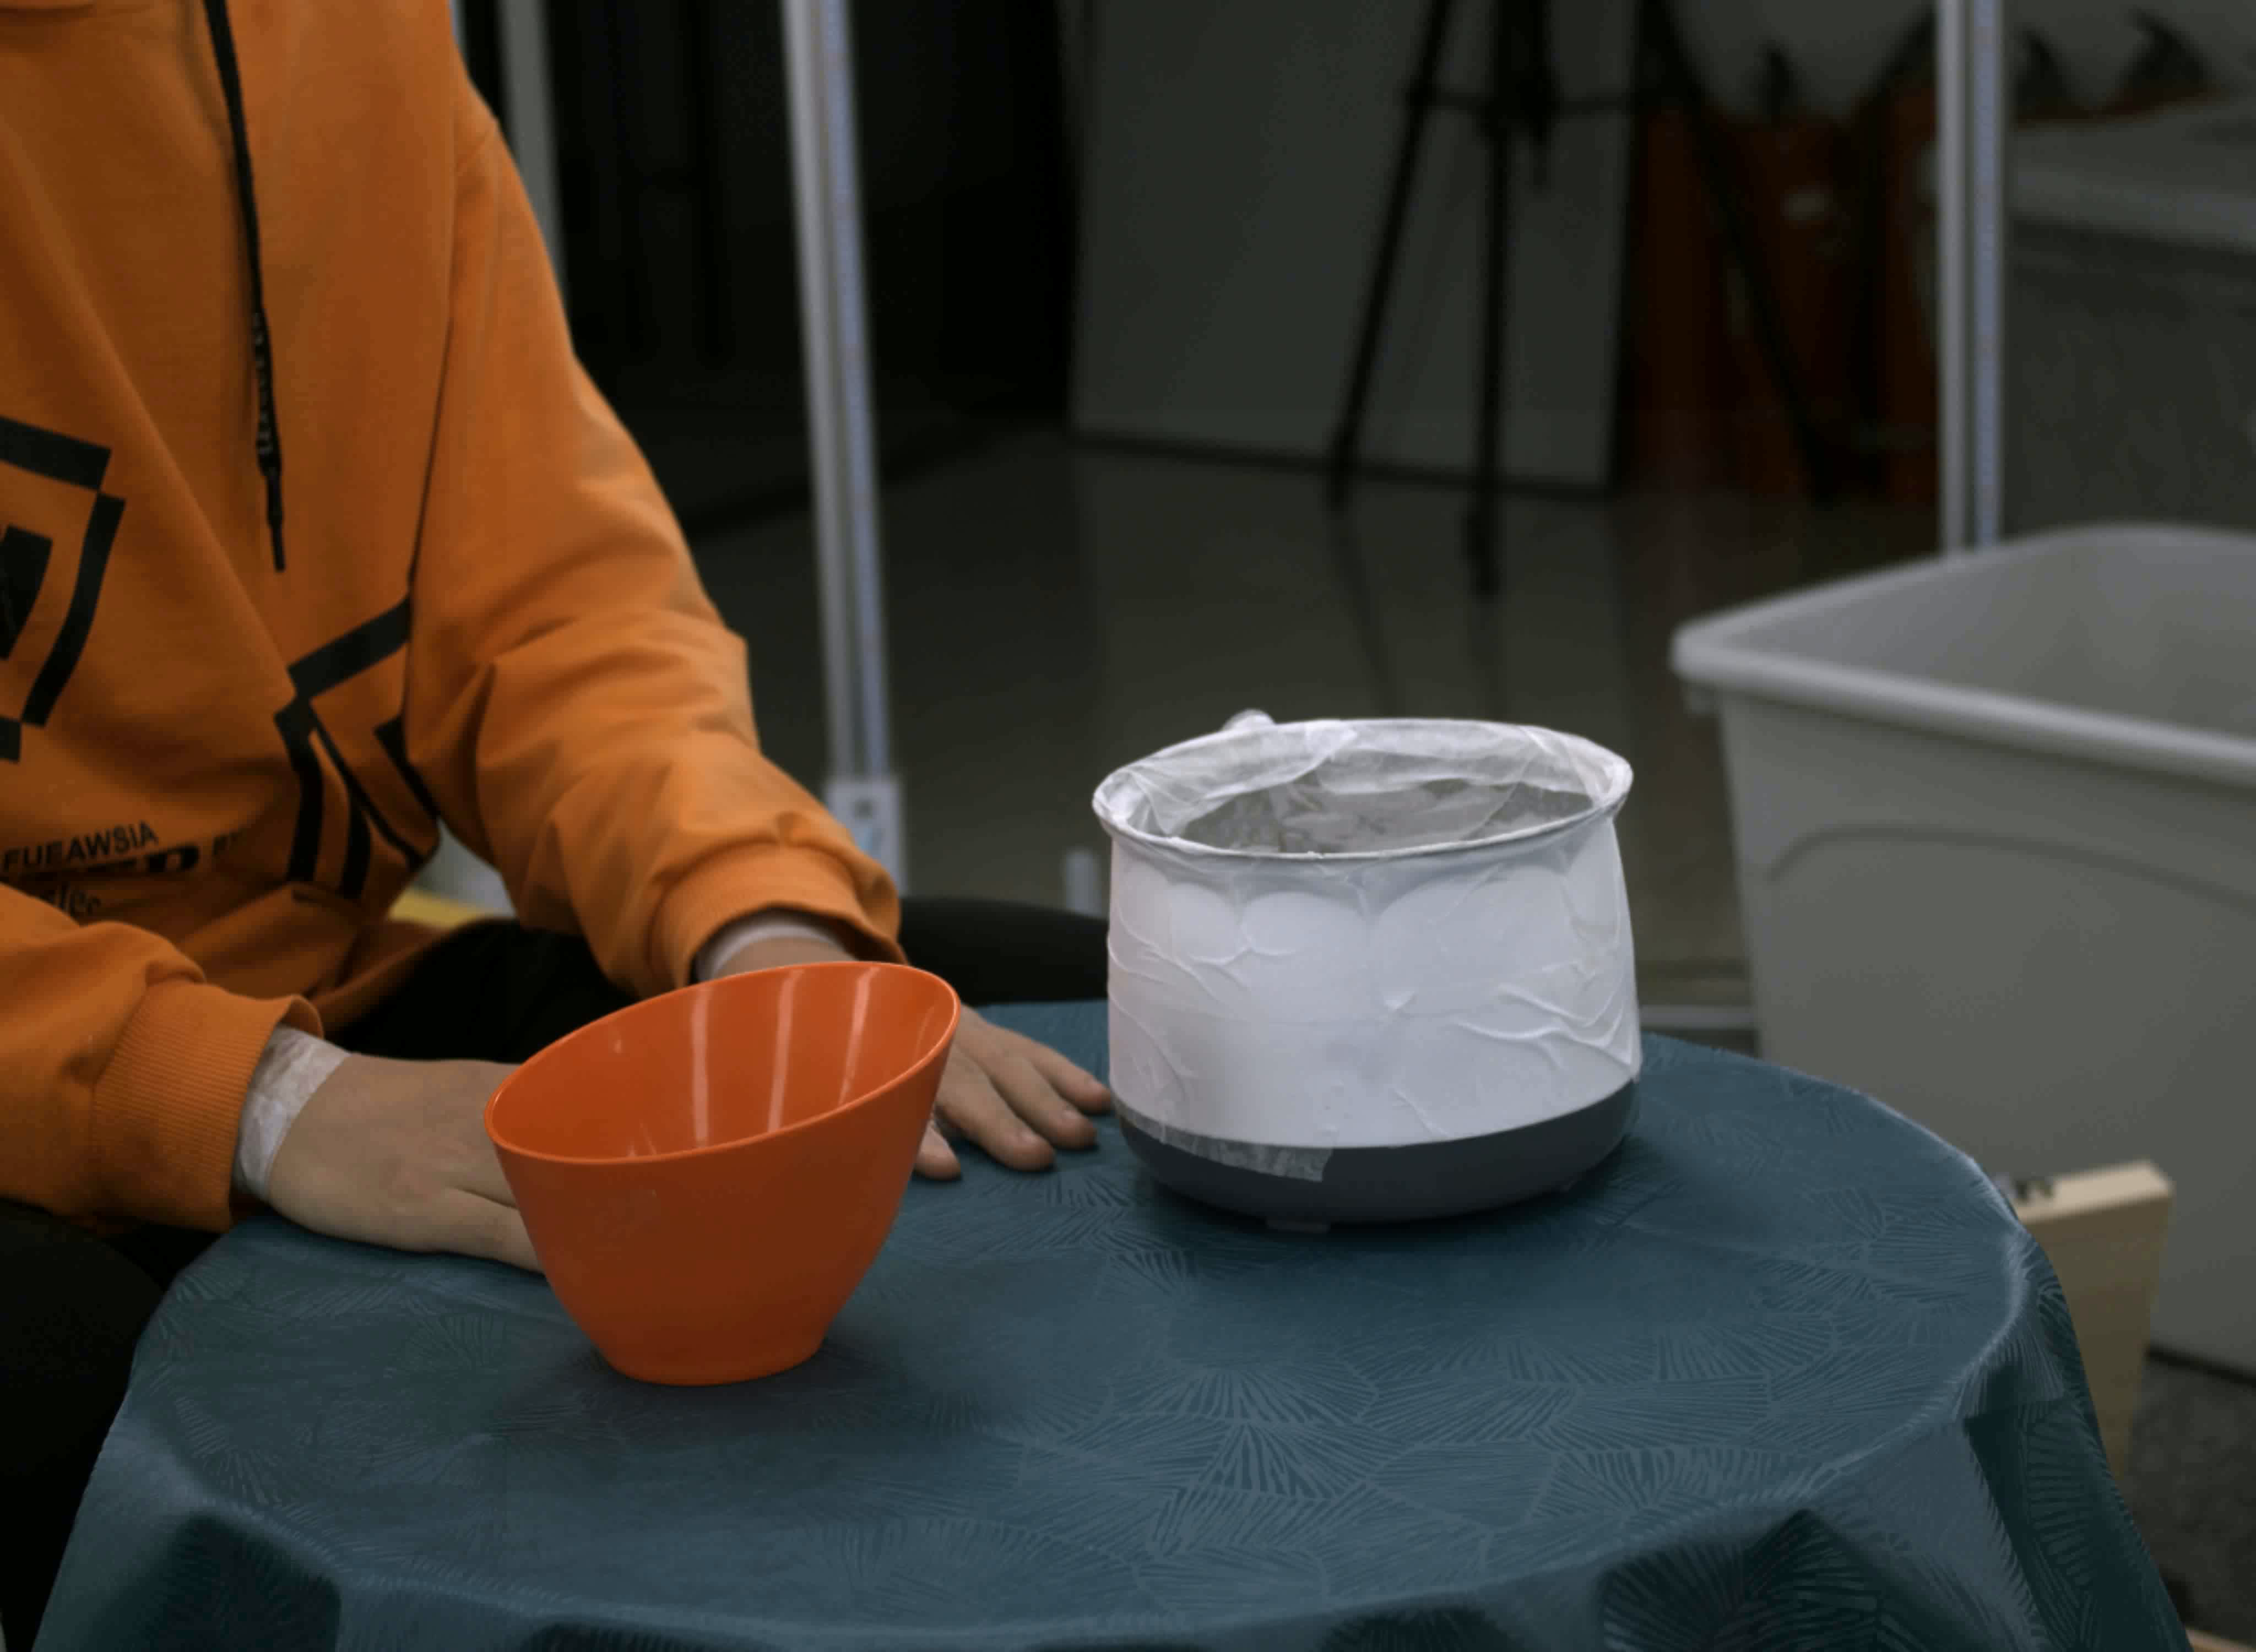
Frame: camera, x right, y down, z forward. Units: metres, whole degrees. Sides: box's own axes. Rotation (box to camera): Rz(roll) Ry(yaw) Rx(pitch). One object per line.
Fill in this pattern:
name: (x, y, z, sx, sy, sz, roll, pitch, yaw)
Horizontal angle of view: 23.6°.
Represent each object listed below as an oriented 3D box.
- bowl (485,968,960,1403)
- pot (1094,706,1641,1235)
bowl: (-0.118, 0.112, 1.639, 0.146, 0.106, 0.148, -5, 14, 0)
pot: (0.069, 0.041, 1.786, 0.175, 0.138, 0.236, -8, 14, -19)
